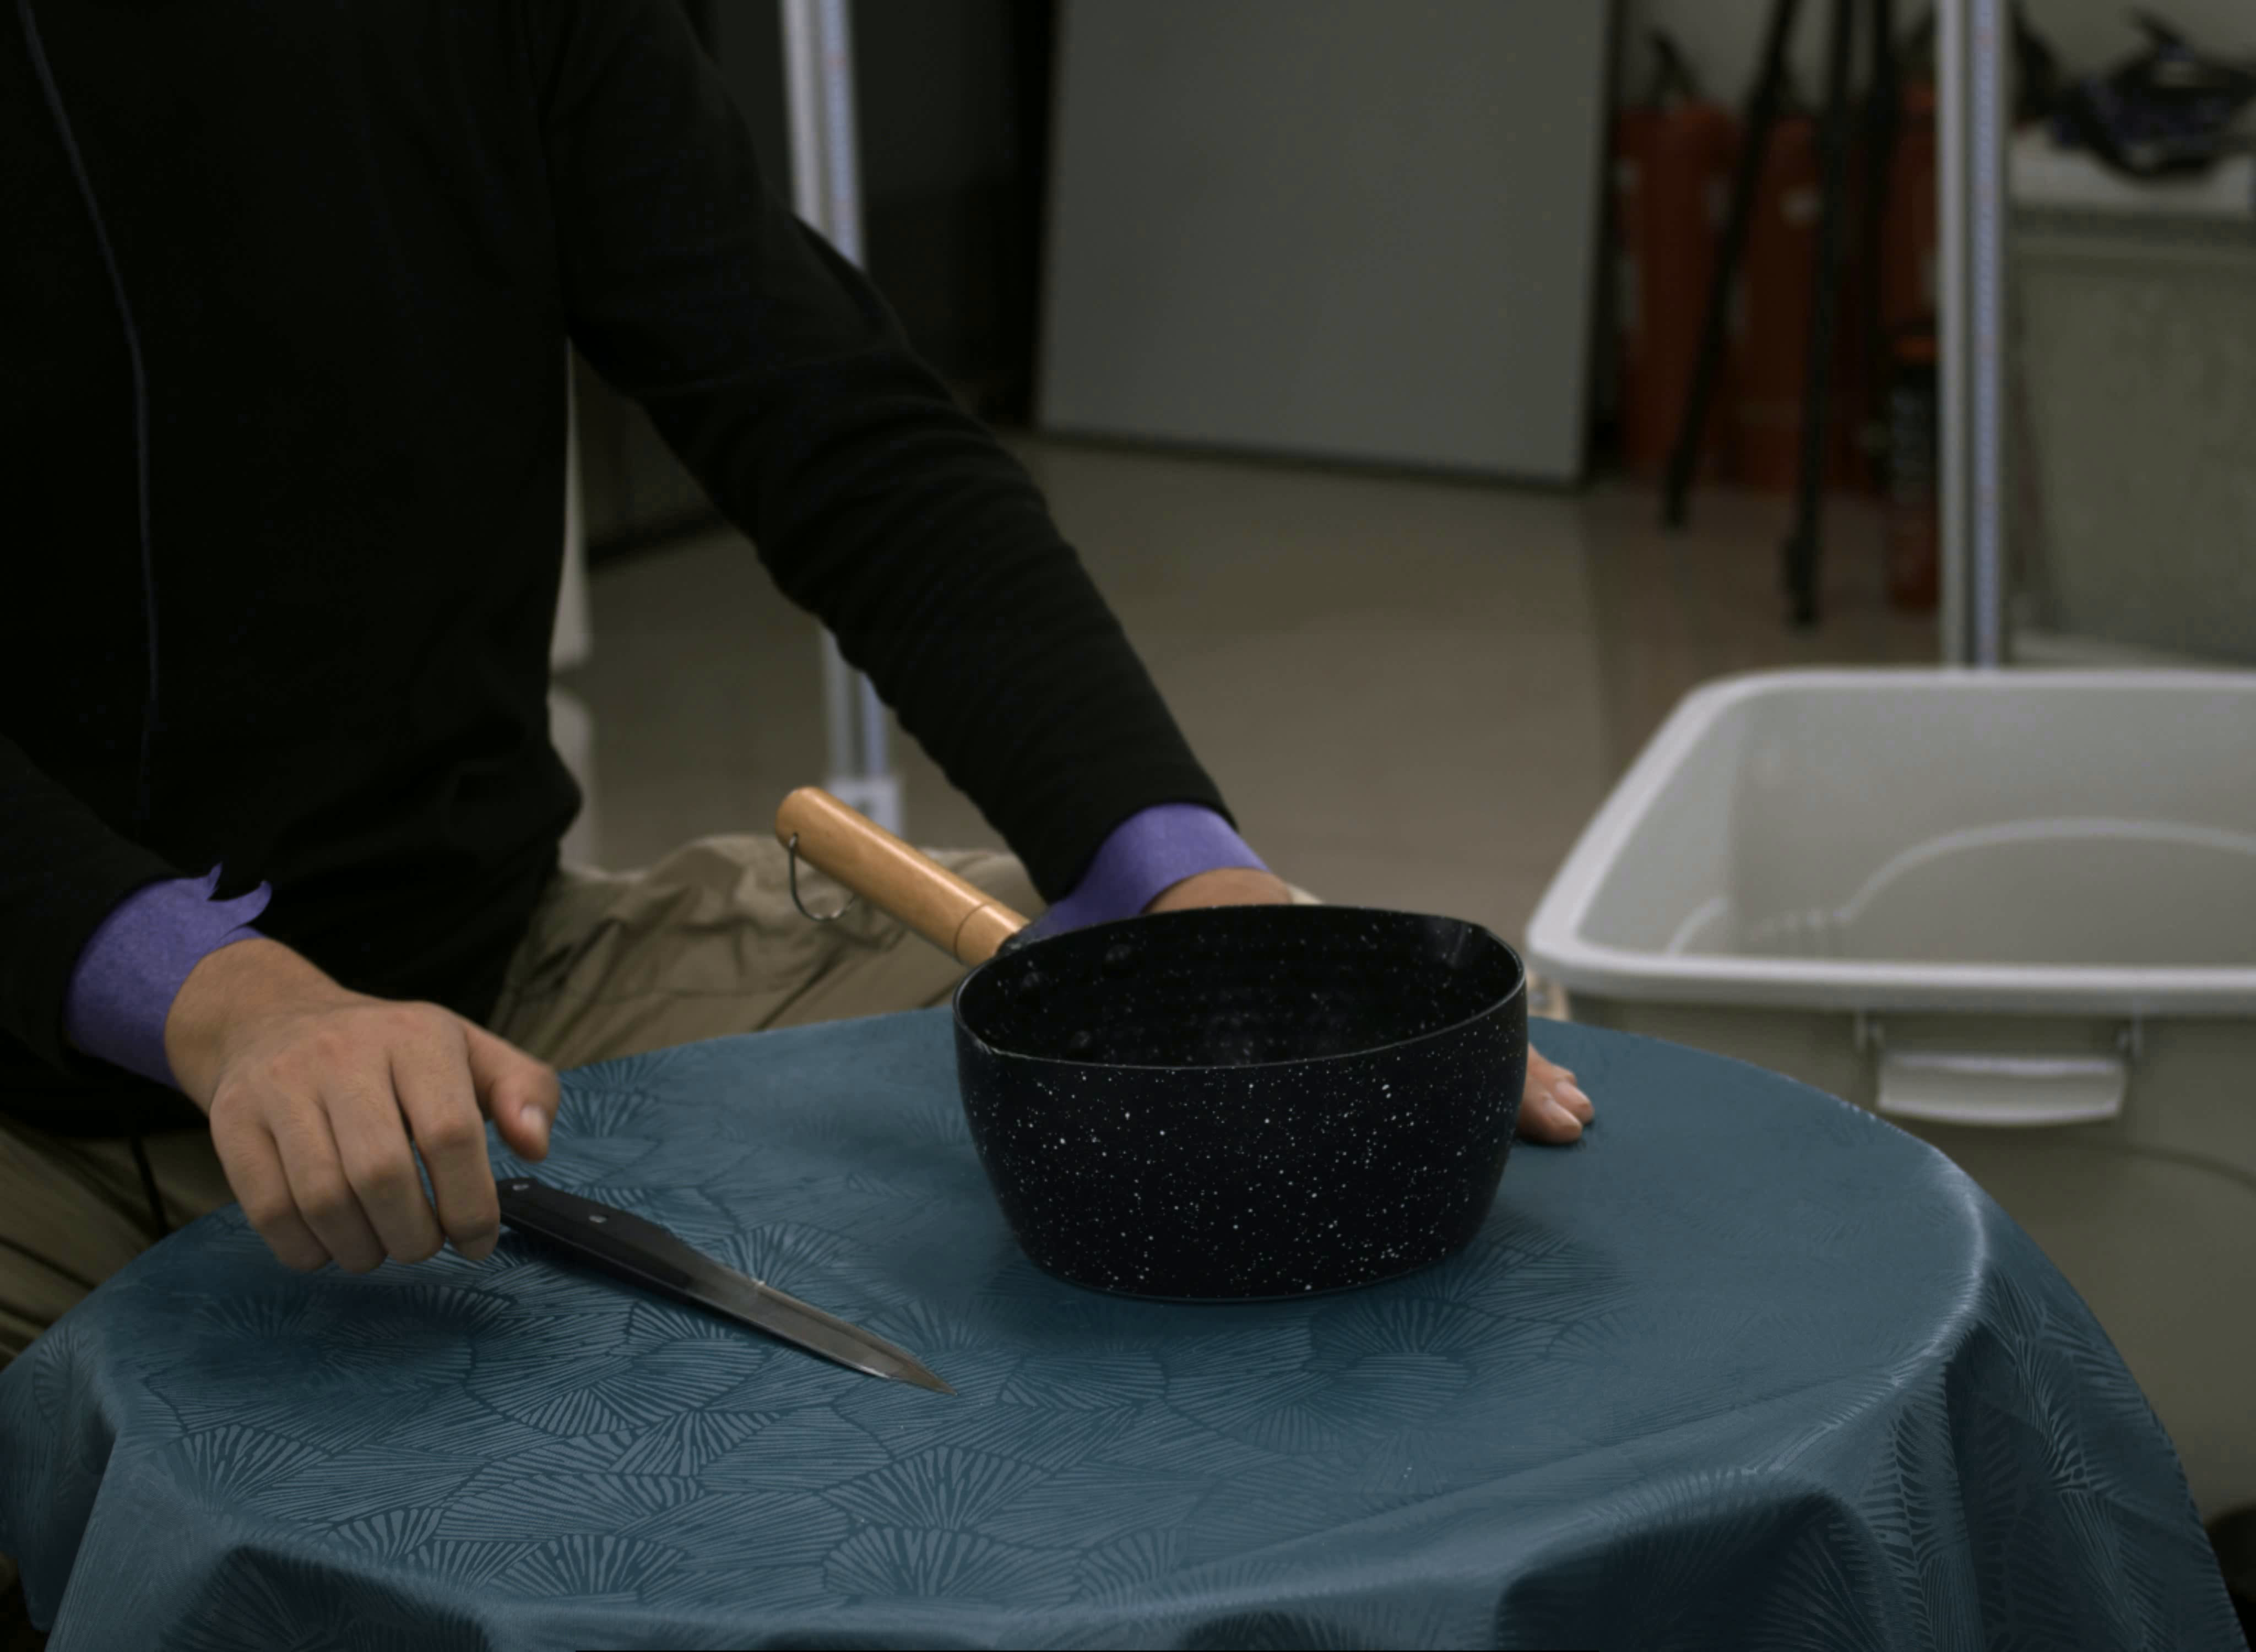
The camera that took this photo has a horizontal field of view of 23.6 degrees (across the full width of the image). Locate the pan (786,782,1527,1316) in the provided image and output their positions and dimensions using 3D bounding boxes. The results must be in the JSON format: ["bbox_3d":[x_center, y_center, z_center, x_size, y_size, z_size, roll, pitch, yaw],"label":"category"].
[{"bbox_3d":[-0.012,0.067,1.777,0.203,0.109,0.346,-15,18,-35],"label":"pan"}]

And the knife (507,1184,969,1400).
[{"bbox_3d":[-0.125,0.147,1.687,0.024,0.016,0.240,-11,18,-38],"label":"knife"}]
